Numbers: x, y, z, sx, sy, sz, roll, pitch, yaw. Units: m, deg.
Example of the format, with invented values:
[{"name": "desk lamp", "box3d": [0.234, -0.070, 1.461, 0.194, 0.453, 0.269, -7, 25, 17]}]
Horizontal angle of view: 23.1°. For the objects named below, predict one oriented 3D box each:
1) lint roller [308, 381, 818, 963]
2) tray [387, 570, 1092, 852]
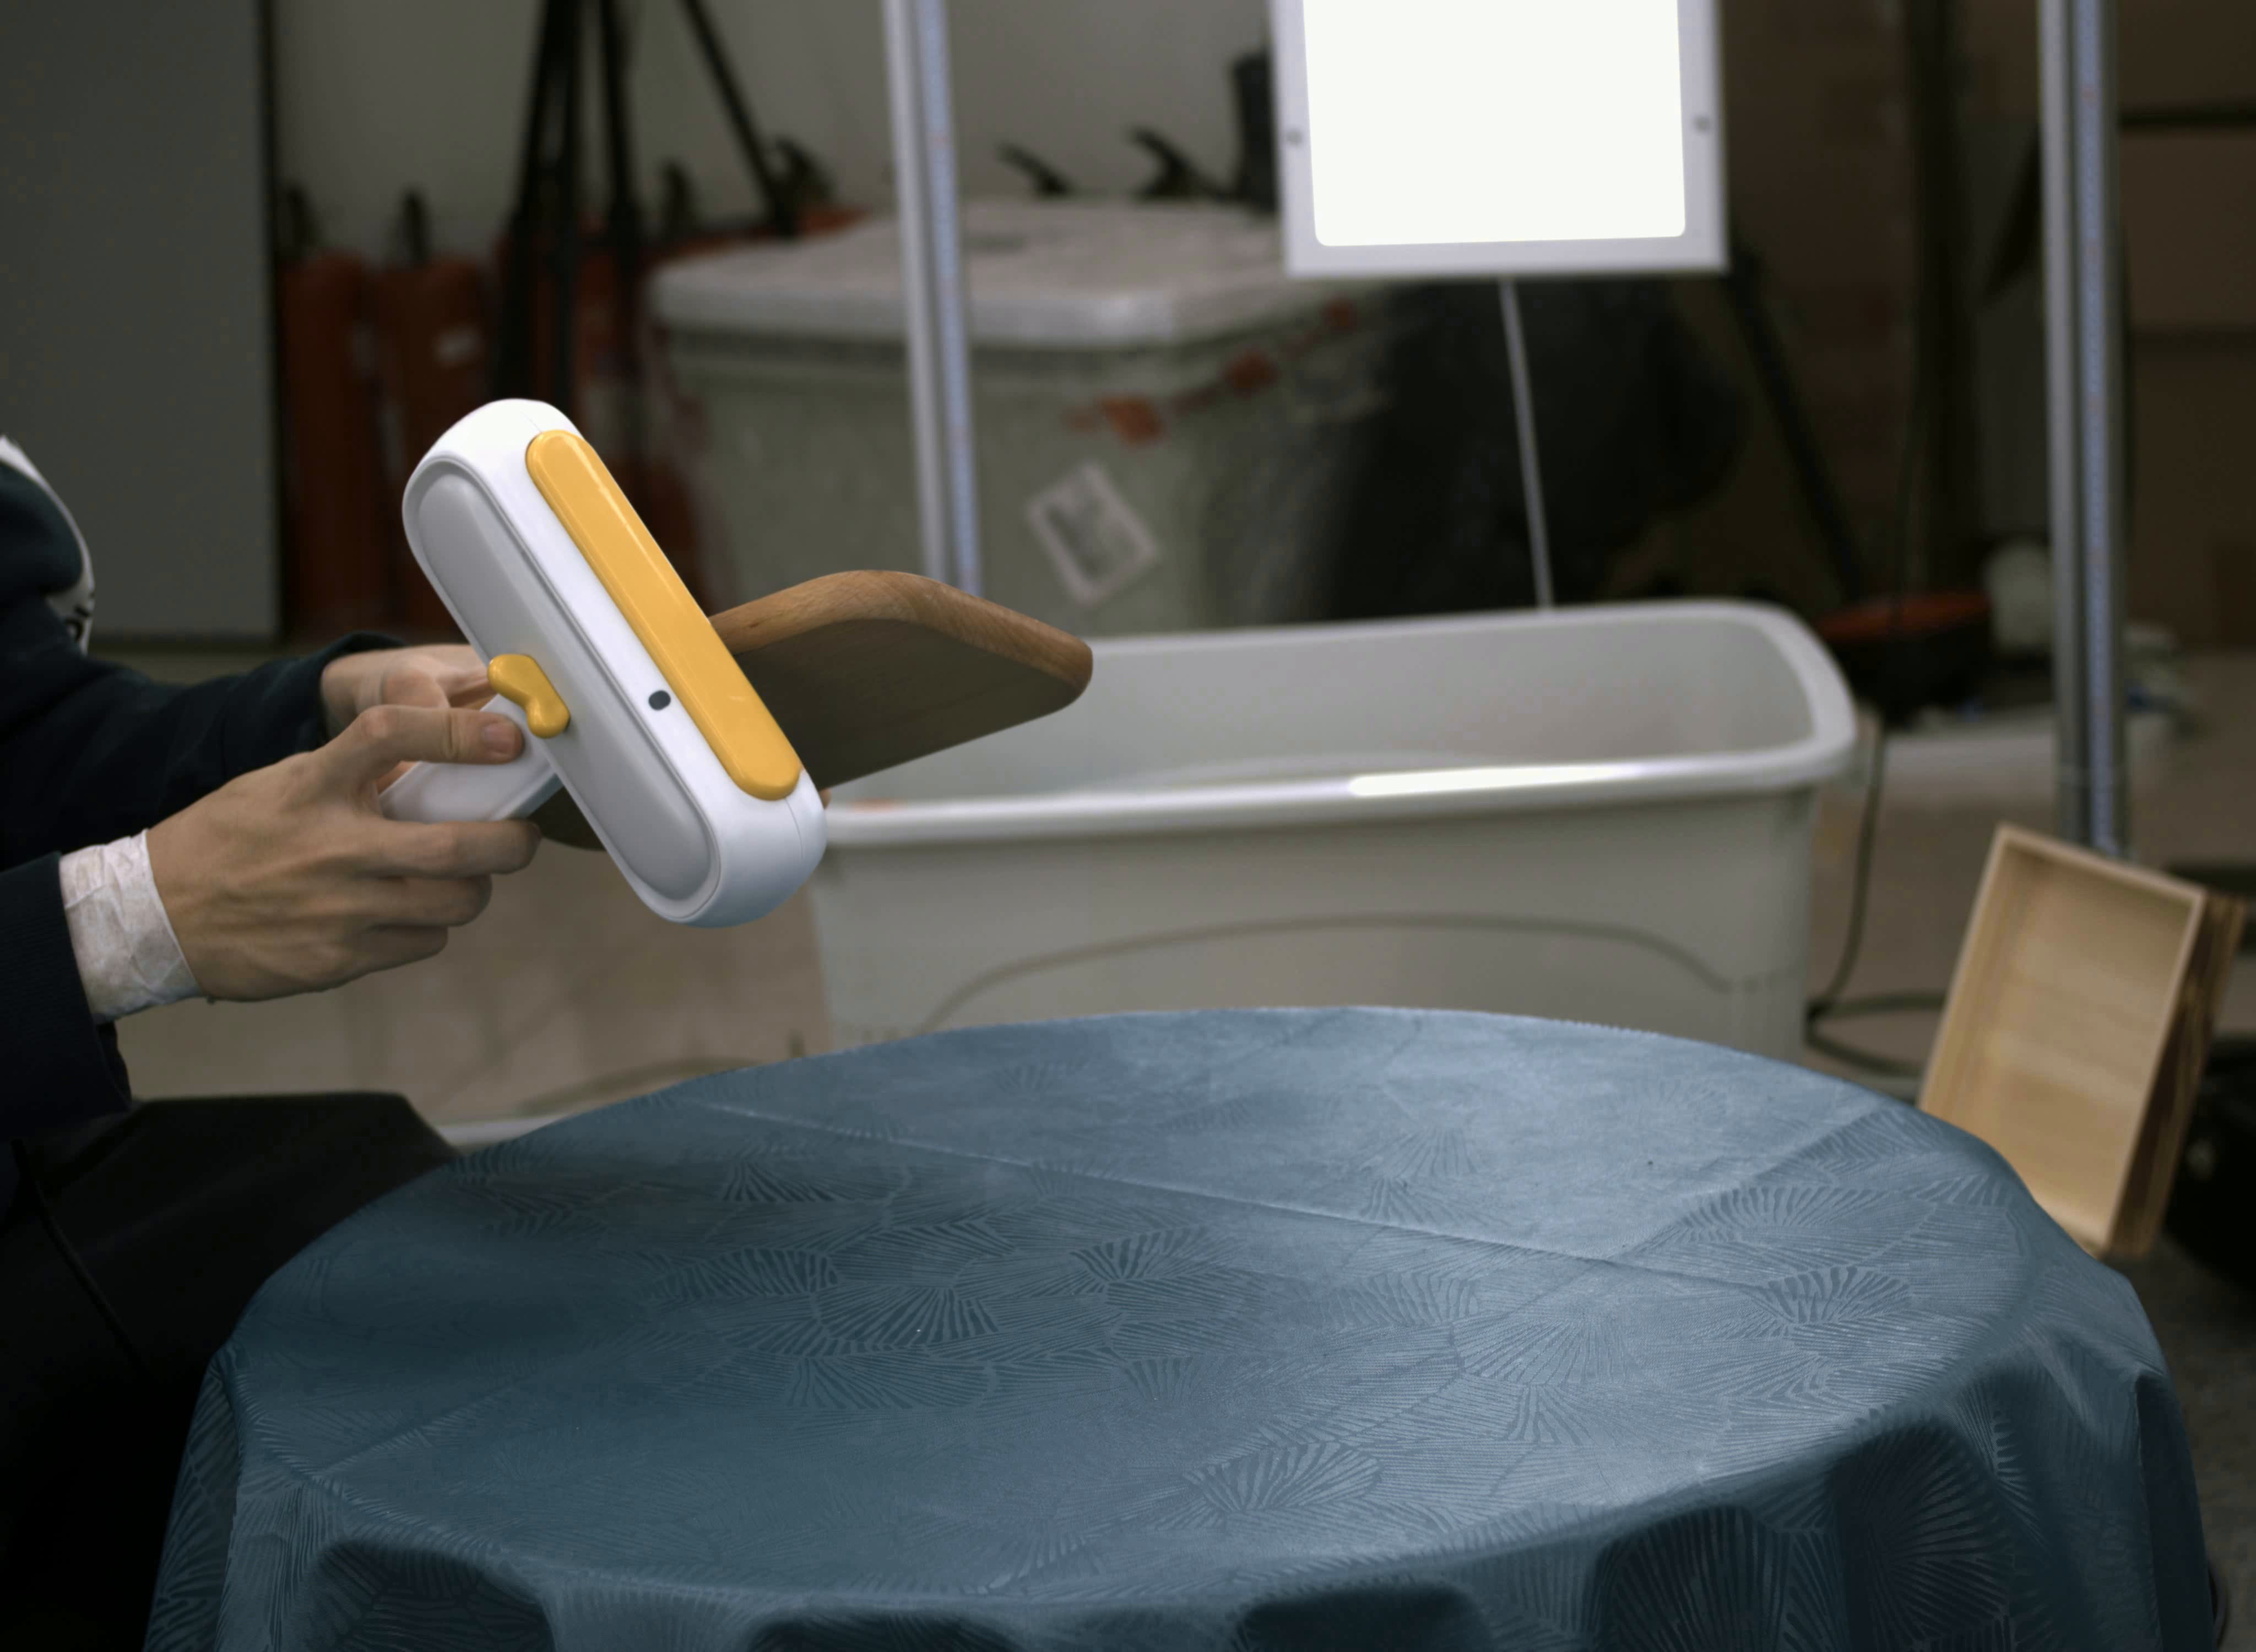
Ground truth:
[{"name": "lint roller", "box3d": [-0.209, -0.024, 1.846, 0.072, 0.193, 0.196, -31, -13, -48]}, {"name": "tray", "box3d": [-0.136, -0.036, 1.898, 0.256, 0.023, 0.128, -18, -29, 40]}]
